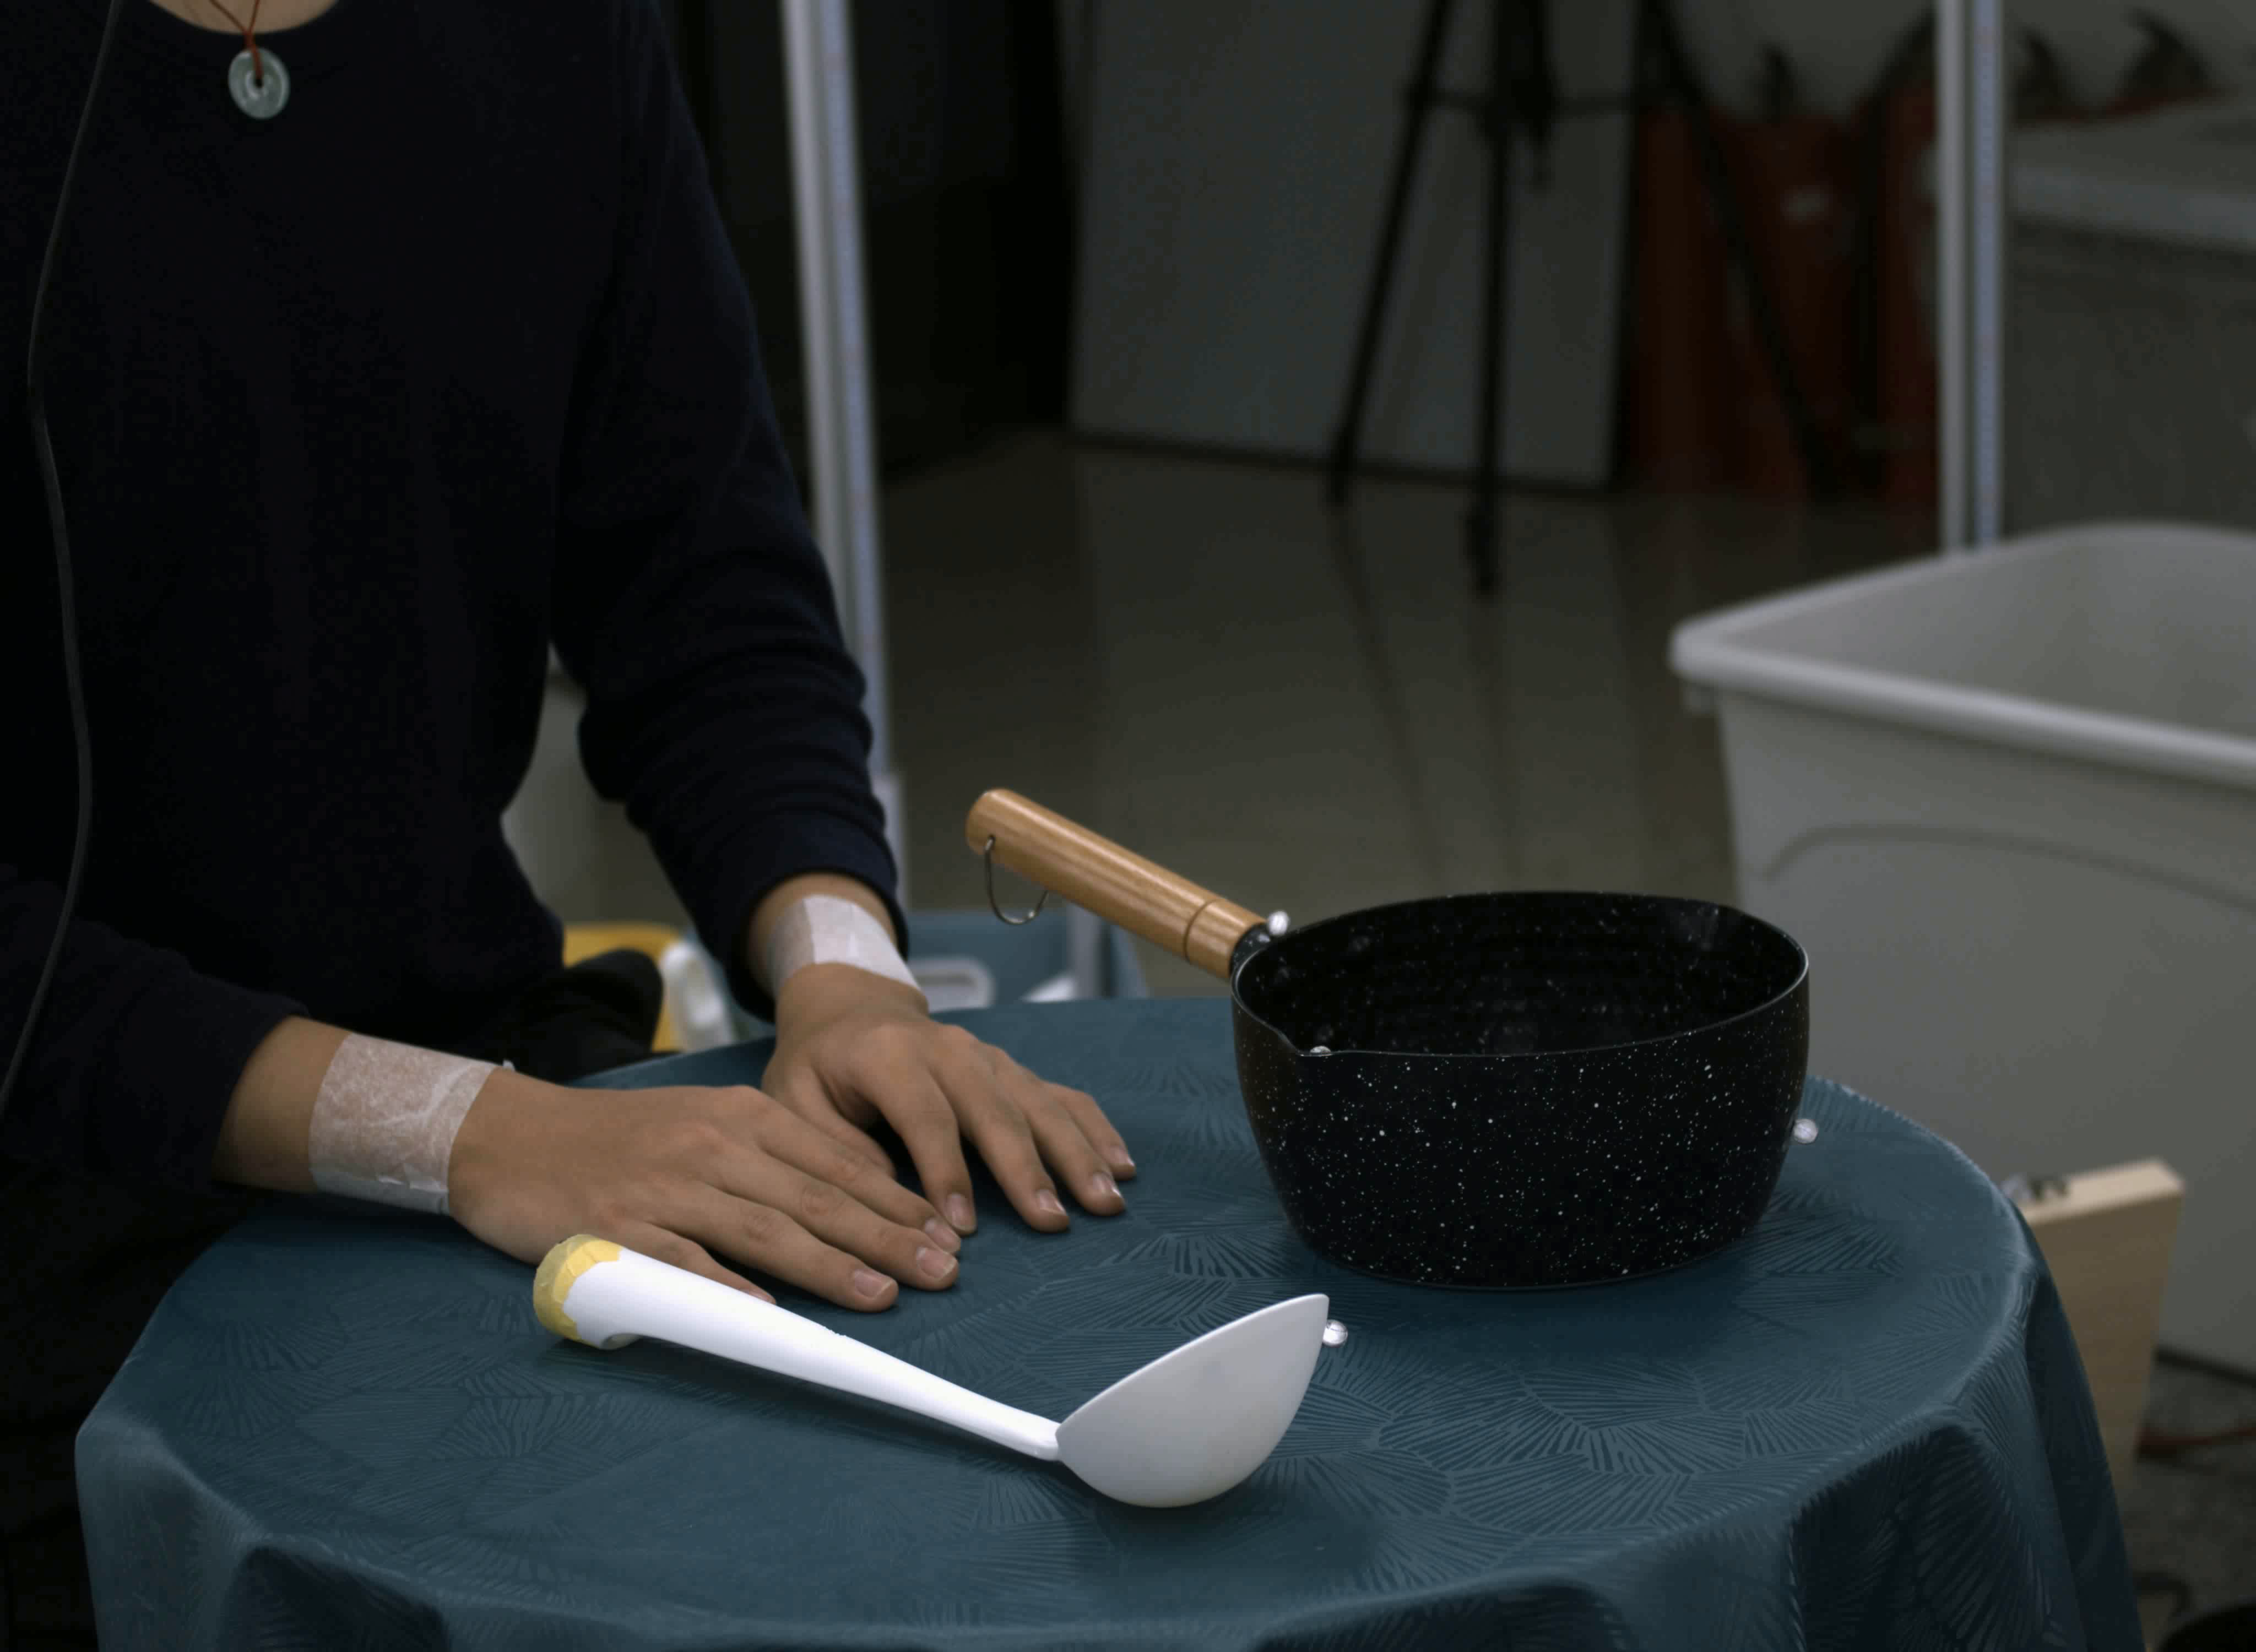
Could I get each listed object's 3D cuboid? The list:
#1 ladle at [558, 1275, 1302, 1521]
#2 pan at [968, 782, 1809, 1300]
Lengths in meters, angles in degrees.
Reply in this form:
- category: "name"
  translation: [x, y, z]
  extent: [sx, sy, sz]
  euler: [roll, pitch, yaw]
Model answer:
- category: "ladle"
  translation: [-0.067, 0.150, 1.562]
  extent: [0.088, 0.070, 0.296]
  euler: [-22, 20, -40]
- category: "pan"
  translation: [0.069, 0.063, 1.760]
  extent: [0.203, 0.109, 0.346]
  euler: [-18, 21, -42]
